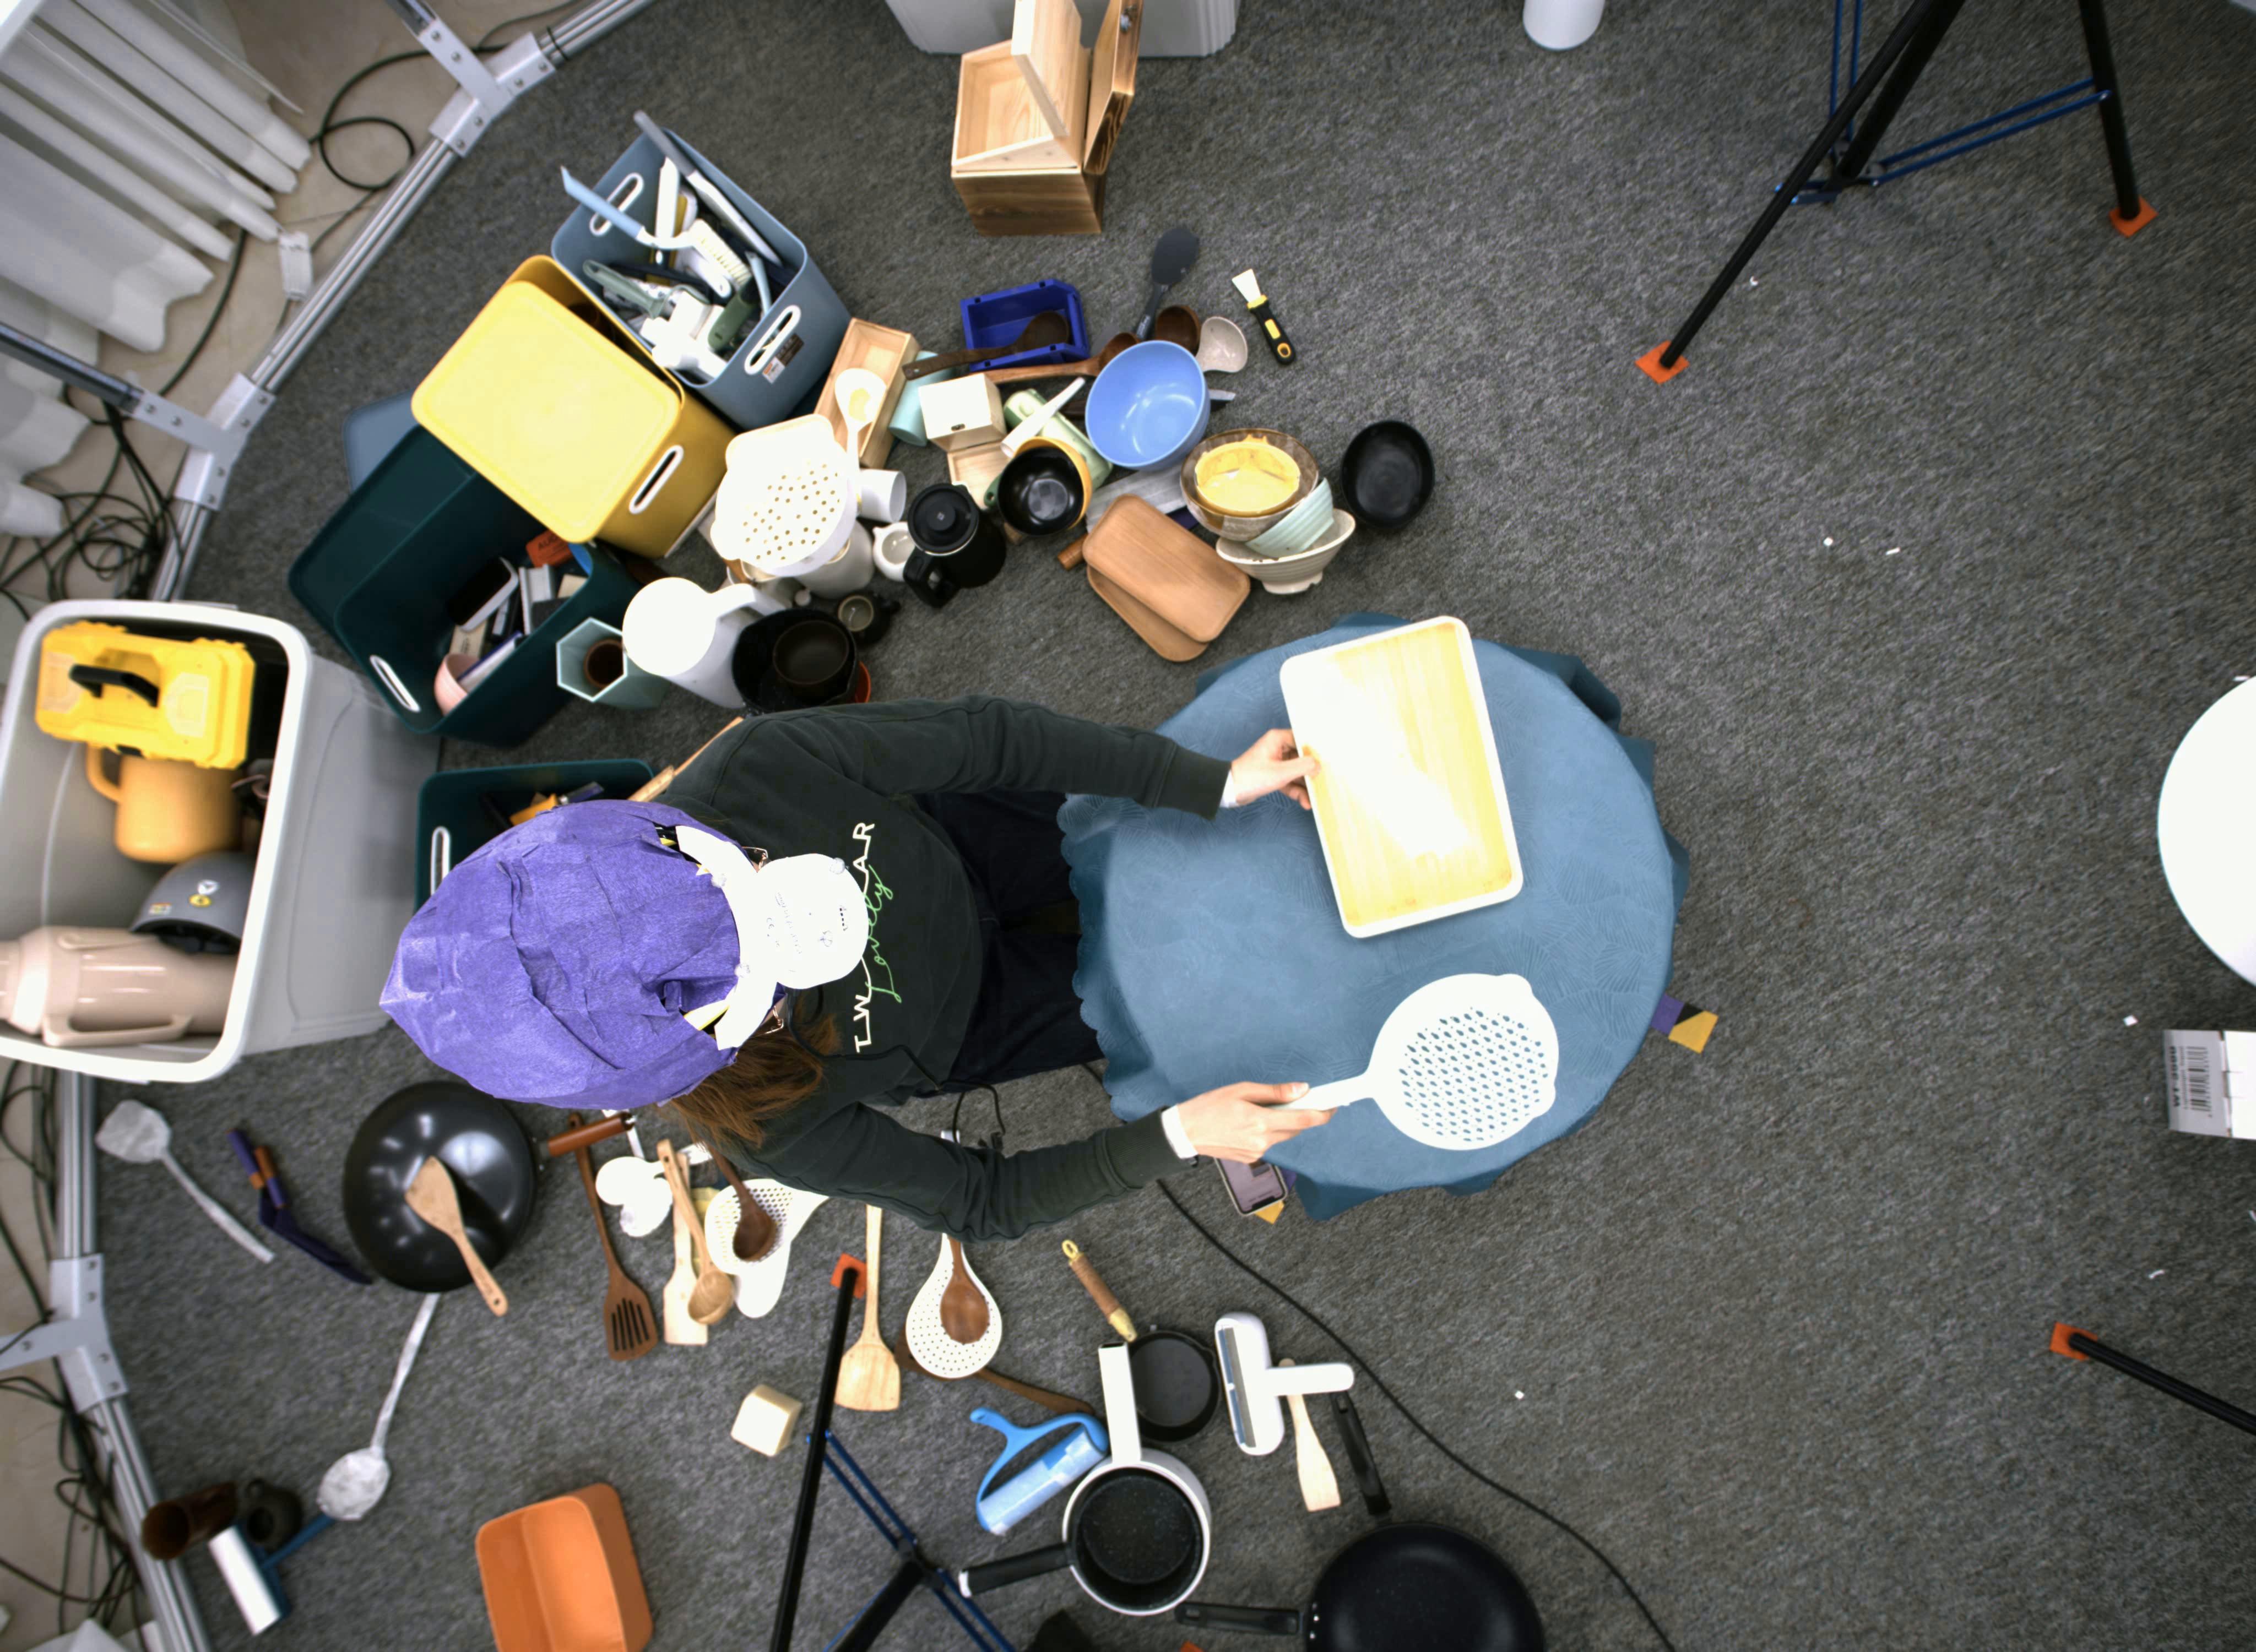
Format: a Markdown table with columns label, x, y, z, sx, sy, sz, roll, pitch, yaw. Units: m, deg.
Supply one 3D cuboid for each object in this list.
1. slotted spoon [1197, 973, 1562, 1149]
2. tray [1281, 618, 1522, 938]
| label | x | y | z | sx | sy | sz | roll | pitch | yaw |
| --- | --- | --- | --- | --- | --- | --- | --- | --- | --- |
| slotted spoon | 0.225 | 0.245 | 1.289 | 0.362 | 0.077 | 0.165 | -15 | 50 | 16 |
| tray | 0.279 | -0.047 | 1.397 | 0.192 | 0.027 | 0.303 | -14 | 105 | 5 |
